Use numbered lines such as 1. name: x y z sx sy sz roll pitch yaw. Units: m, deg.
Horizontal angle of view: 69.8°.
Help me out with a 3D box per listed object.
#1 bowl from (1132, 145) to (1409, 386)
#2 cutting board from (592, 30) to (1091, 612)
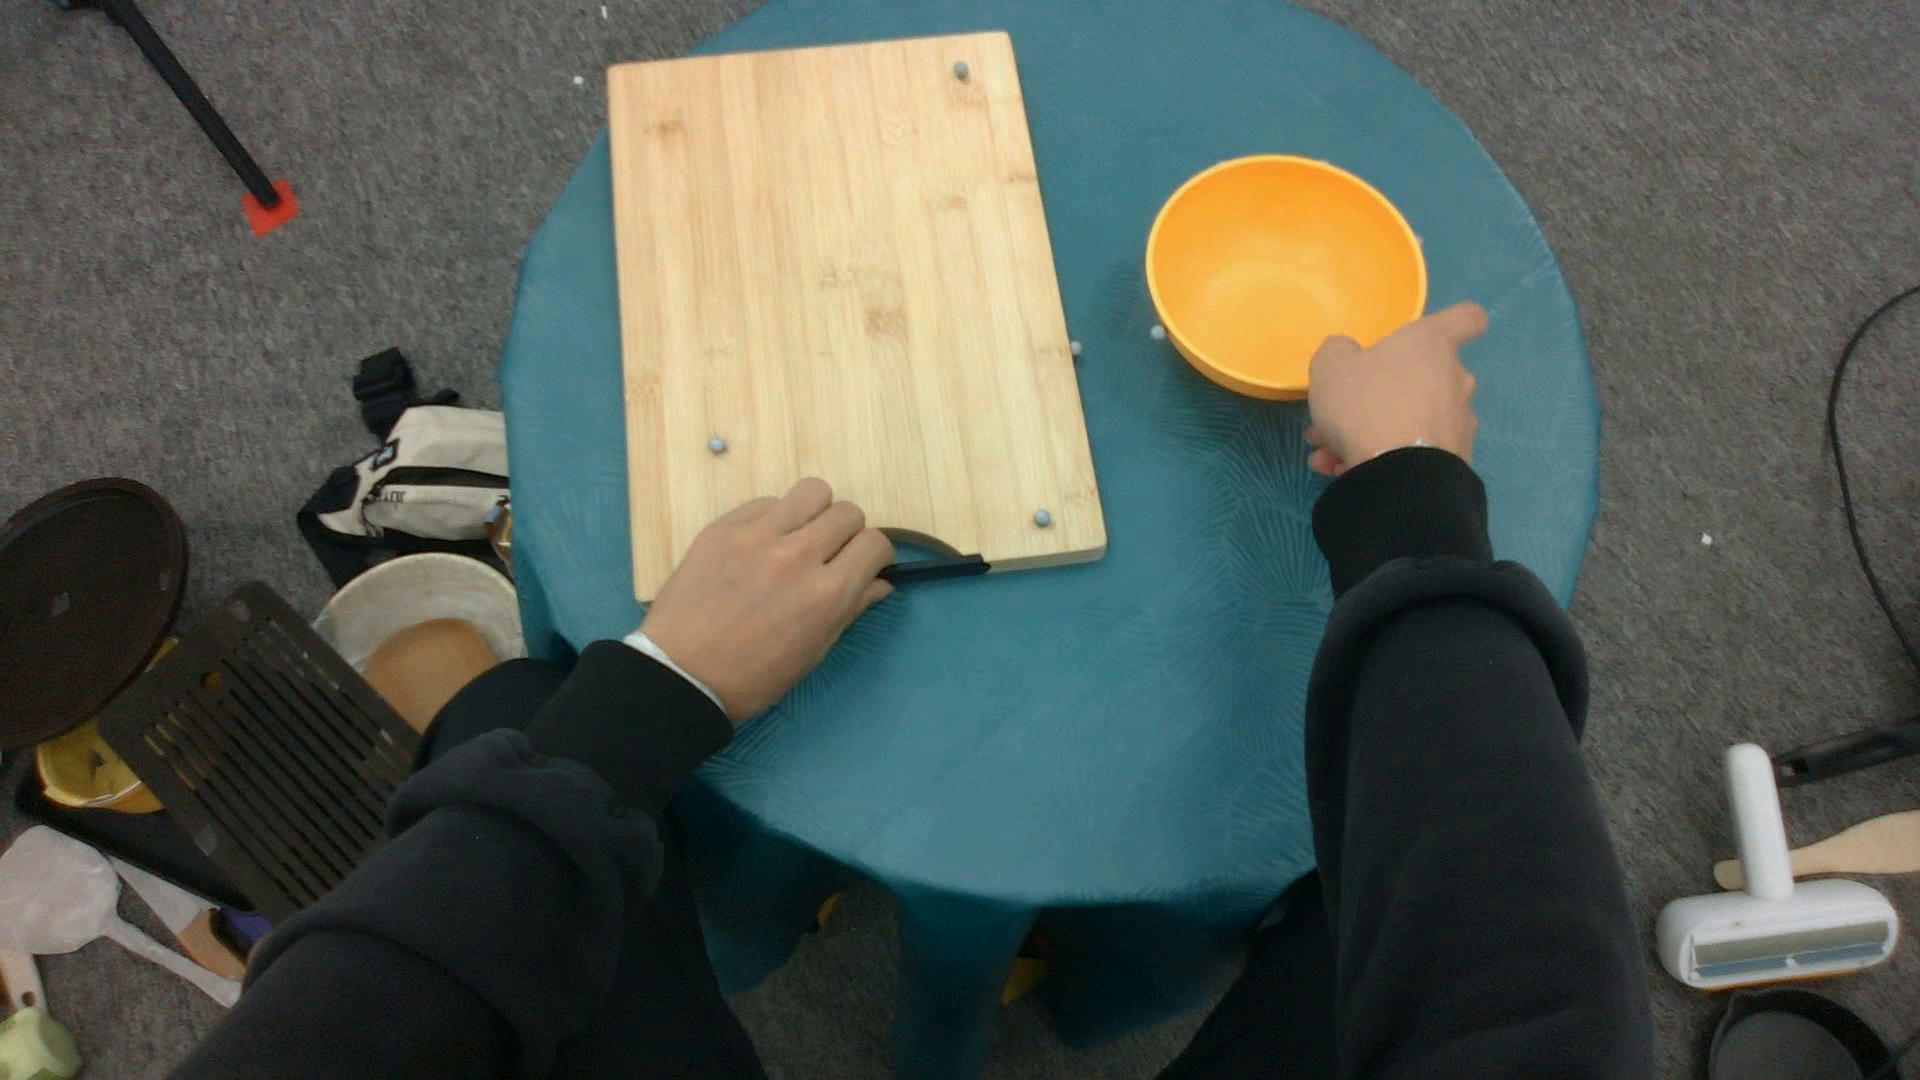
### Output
1. bowl: 0.163 -0.139 0.749 0.145 0.060 0.146 0 68 1
2. cutting board: -0.075 -0.137 0.761 0.251 0.023 0.349 -8 67 -5
